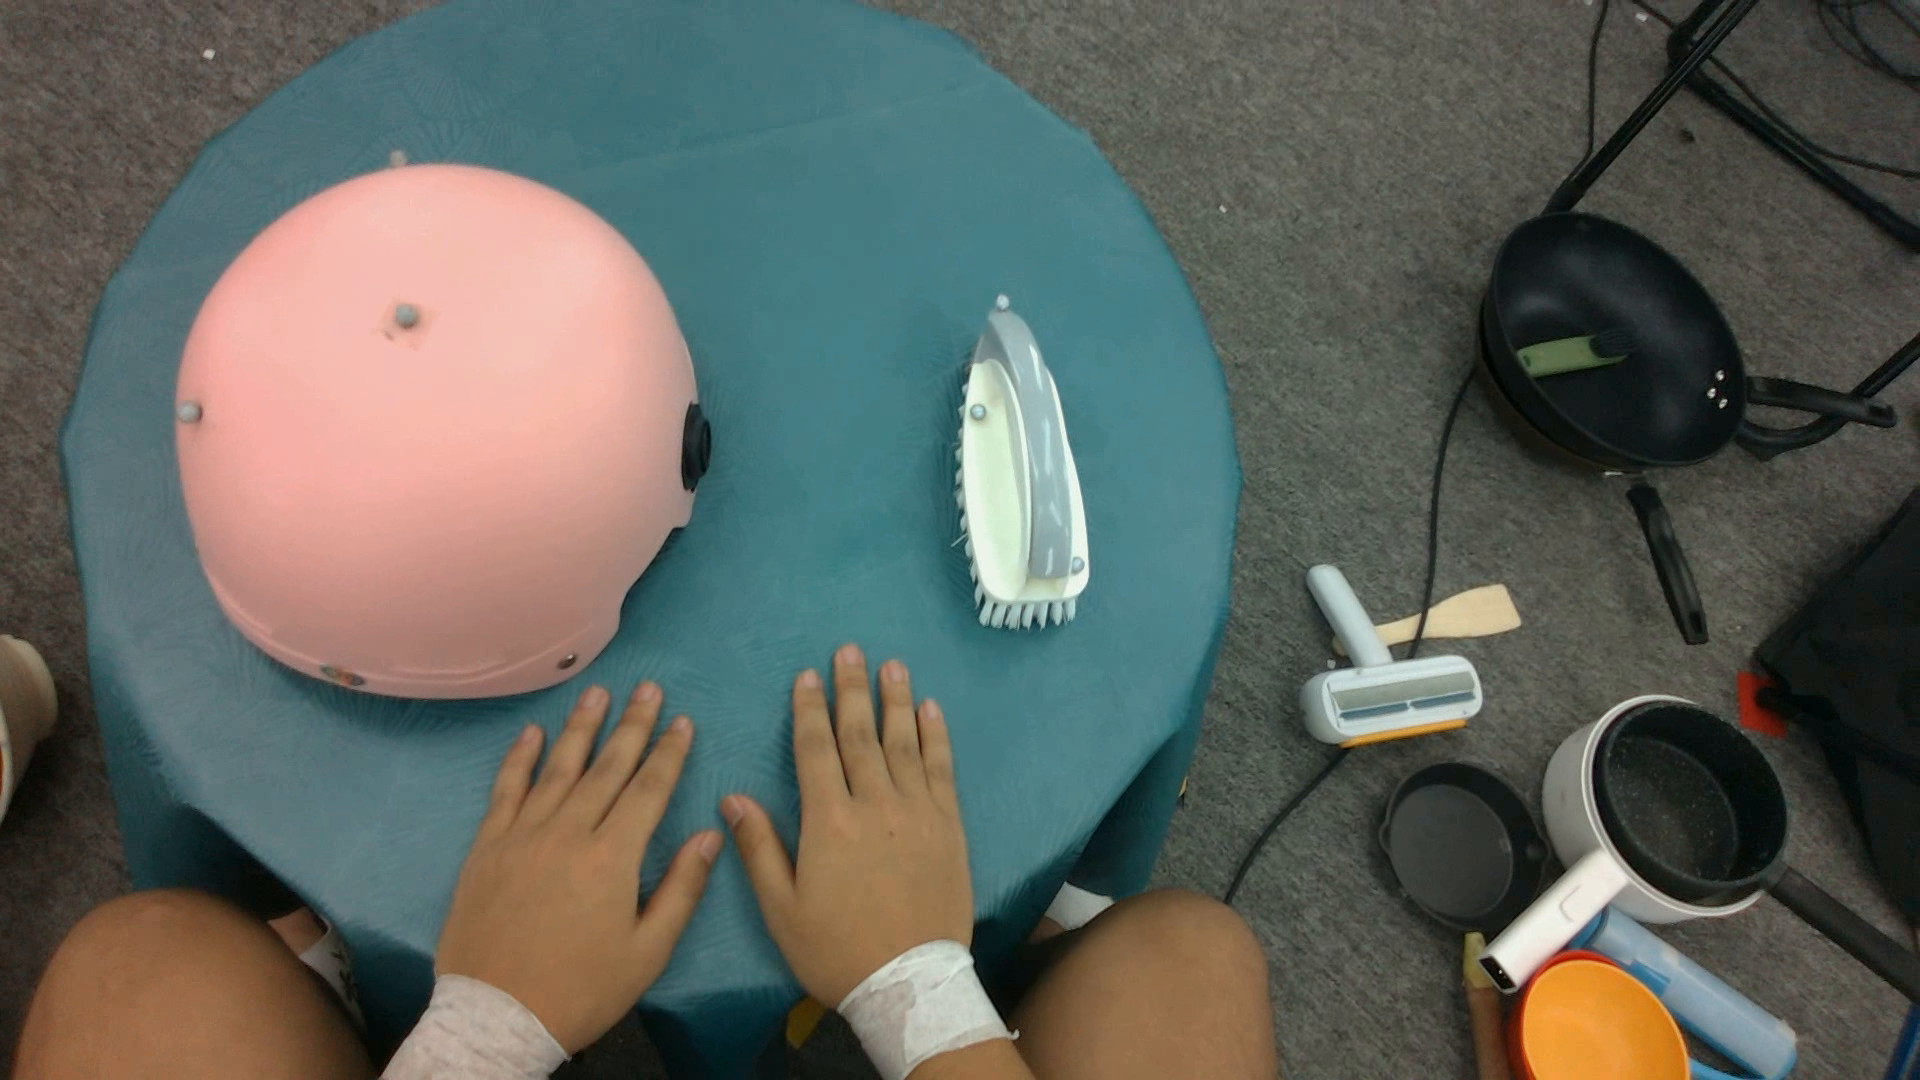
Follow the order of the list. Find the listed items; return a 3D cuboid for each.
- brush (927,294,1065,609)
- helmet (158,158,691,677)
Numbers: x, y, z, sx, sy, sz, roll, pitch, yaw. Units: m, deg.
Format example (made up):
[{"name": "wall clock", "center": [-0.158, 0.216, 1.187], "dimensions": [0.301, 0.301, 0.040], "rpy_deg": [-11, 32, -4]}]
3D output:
[{"name": "brush", "center": [0.018, -0.060, 0.709], "dimensions": [0.061, 0.094, 0.176], "rpy_deg": [-2, 65, -15]}, {"name": "helmet", "center": [-0.242, -0.079, 0.626], "dimensions": [0.234, 0.158, 0.267], "rpy_deg": [16, 60, -5]}]
